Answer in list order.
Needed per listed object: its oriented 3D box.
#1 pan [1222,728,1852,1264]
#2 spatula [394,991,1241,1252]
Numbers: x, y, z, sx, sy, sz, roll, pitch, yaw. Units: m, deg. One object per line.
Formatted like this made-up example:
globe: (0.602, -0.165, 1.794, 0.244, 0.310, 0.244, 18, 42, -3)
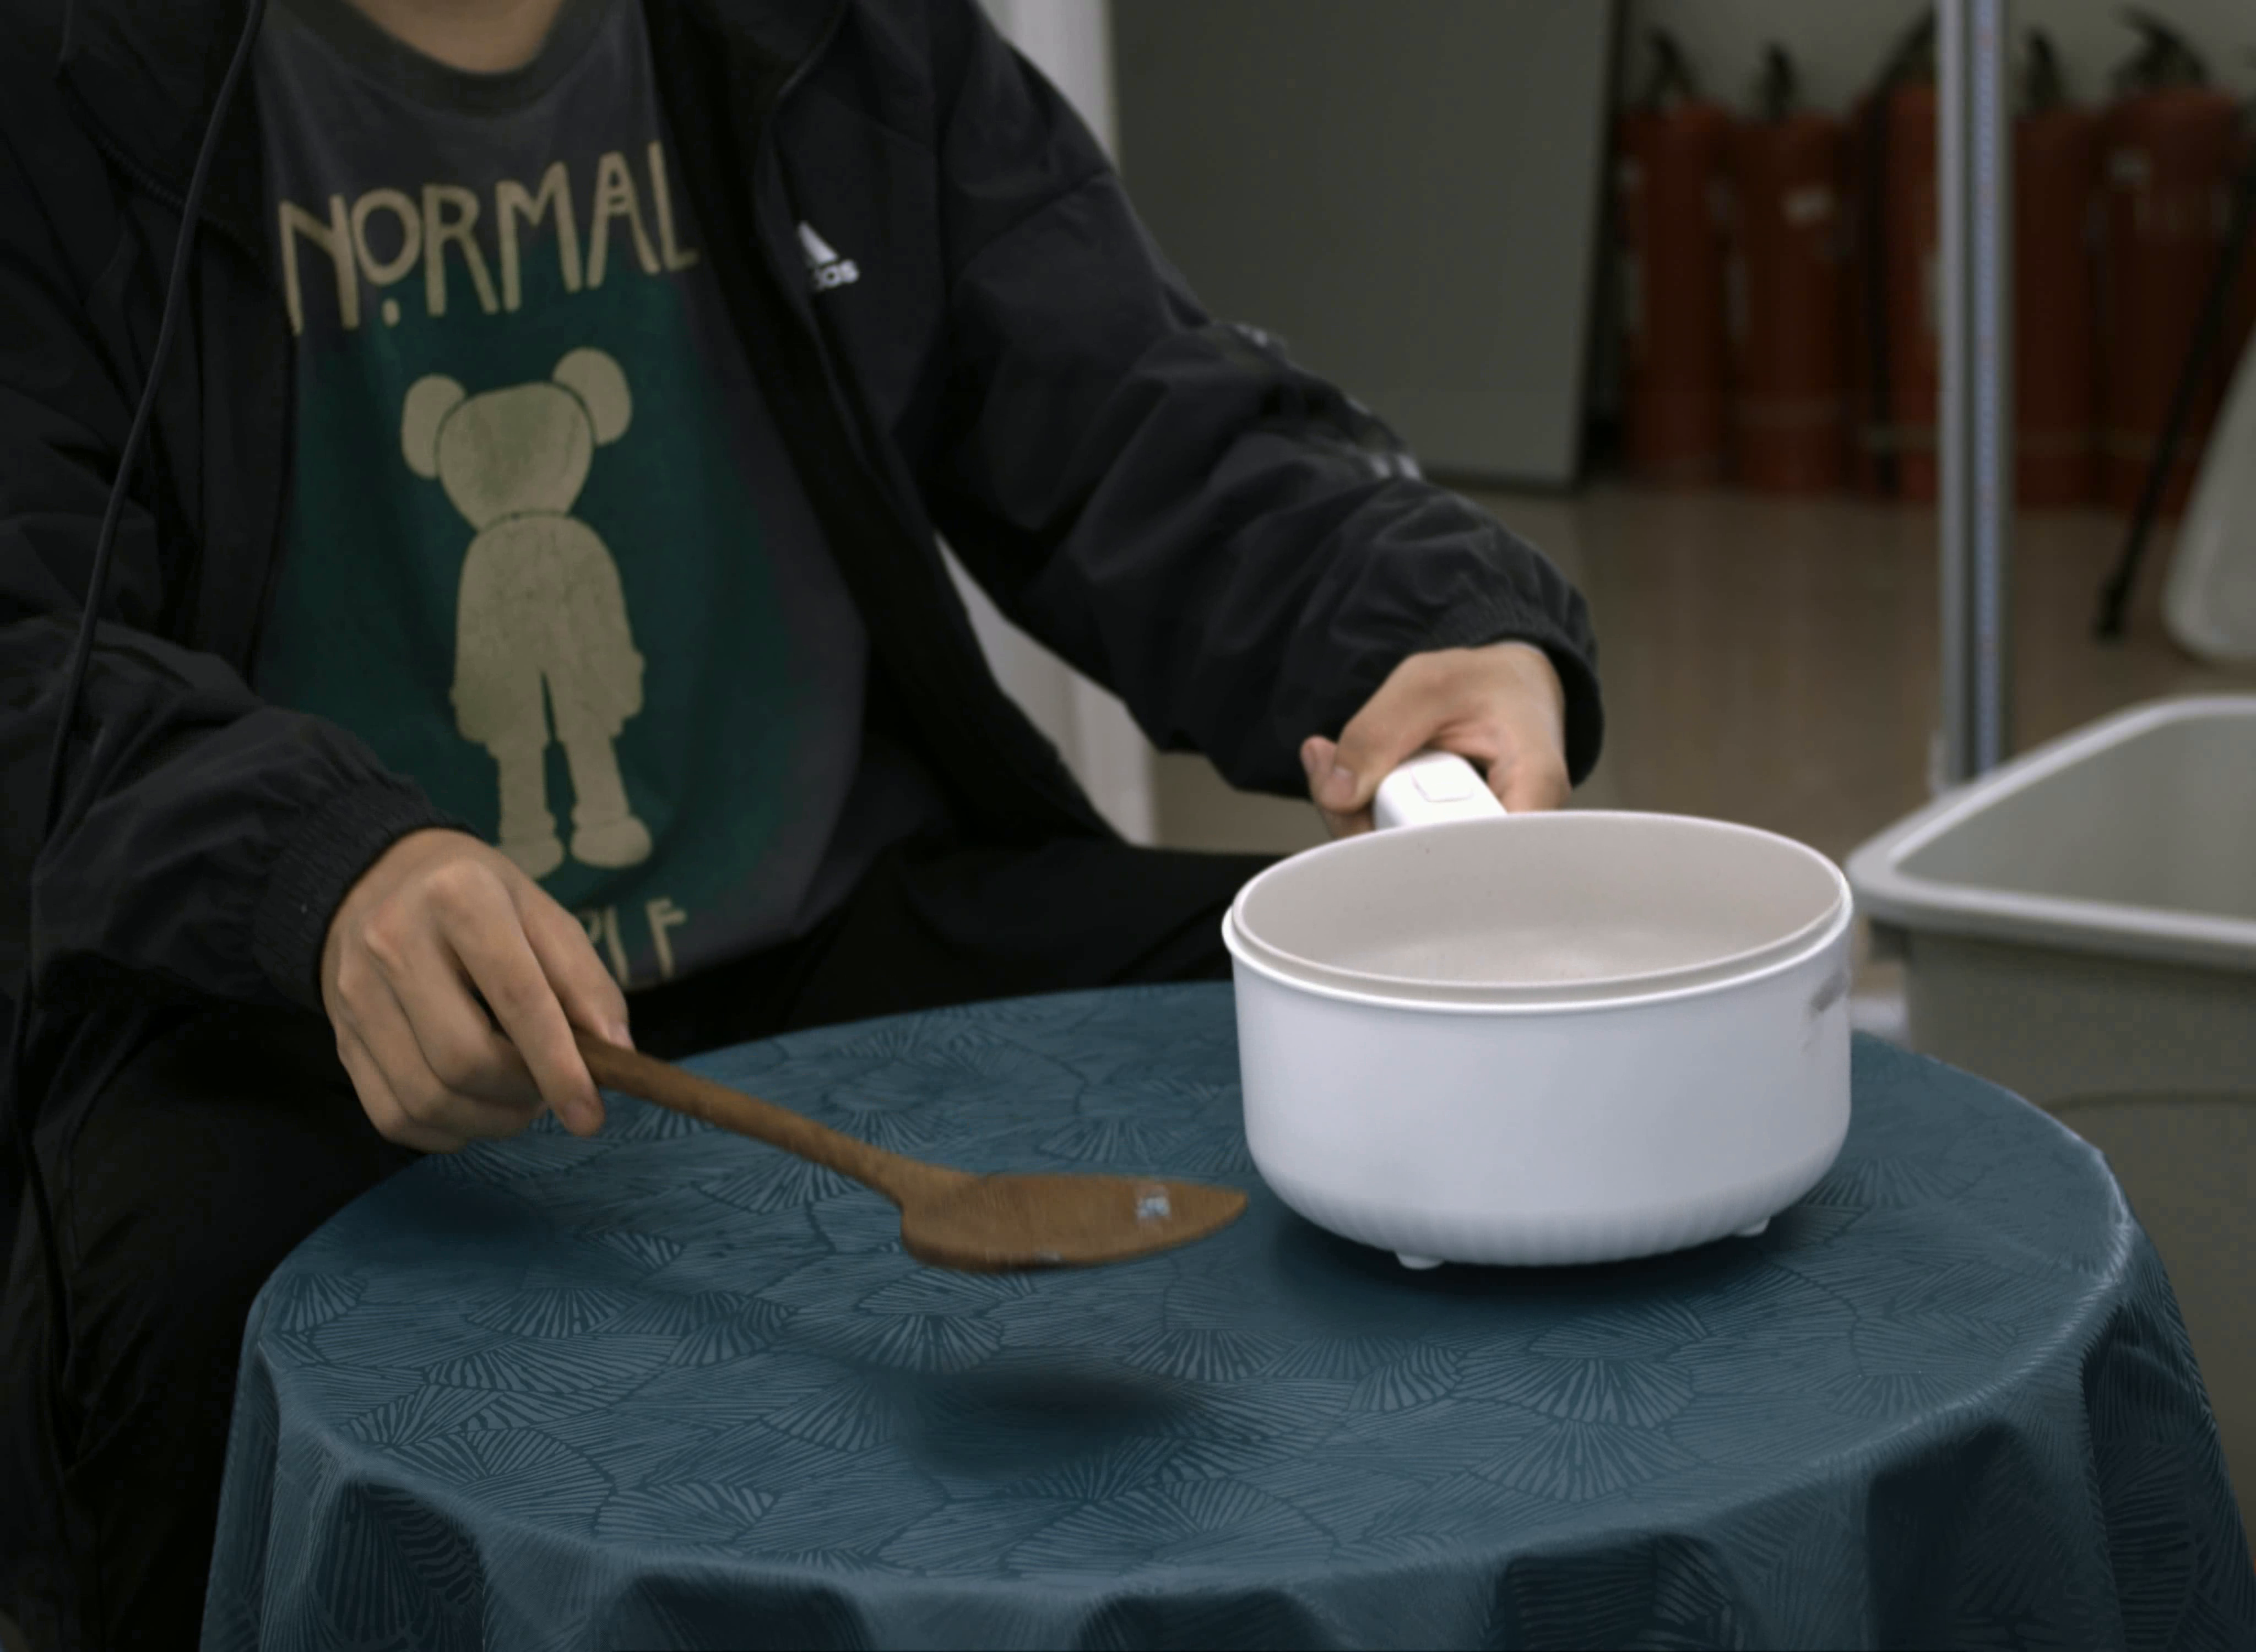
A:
pan: (0.122, 0.051, 1.778, 0.198, 0.103, 0.356, -7, 13, -6)
spatula: (-0.117, 0.088, 1.685, 0.094, 0.016, 0.390, -13, 17, -39)
